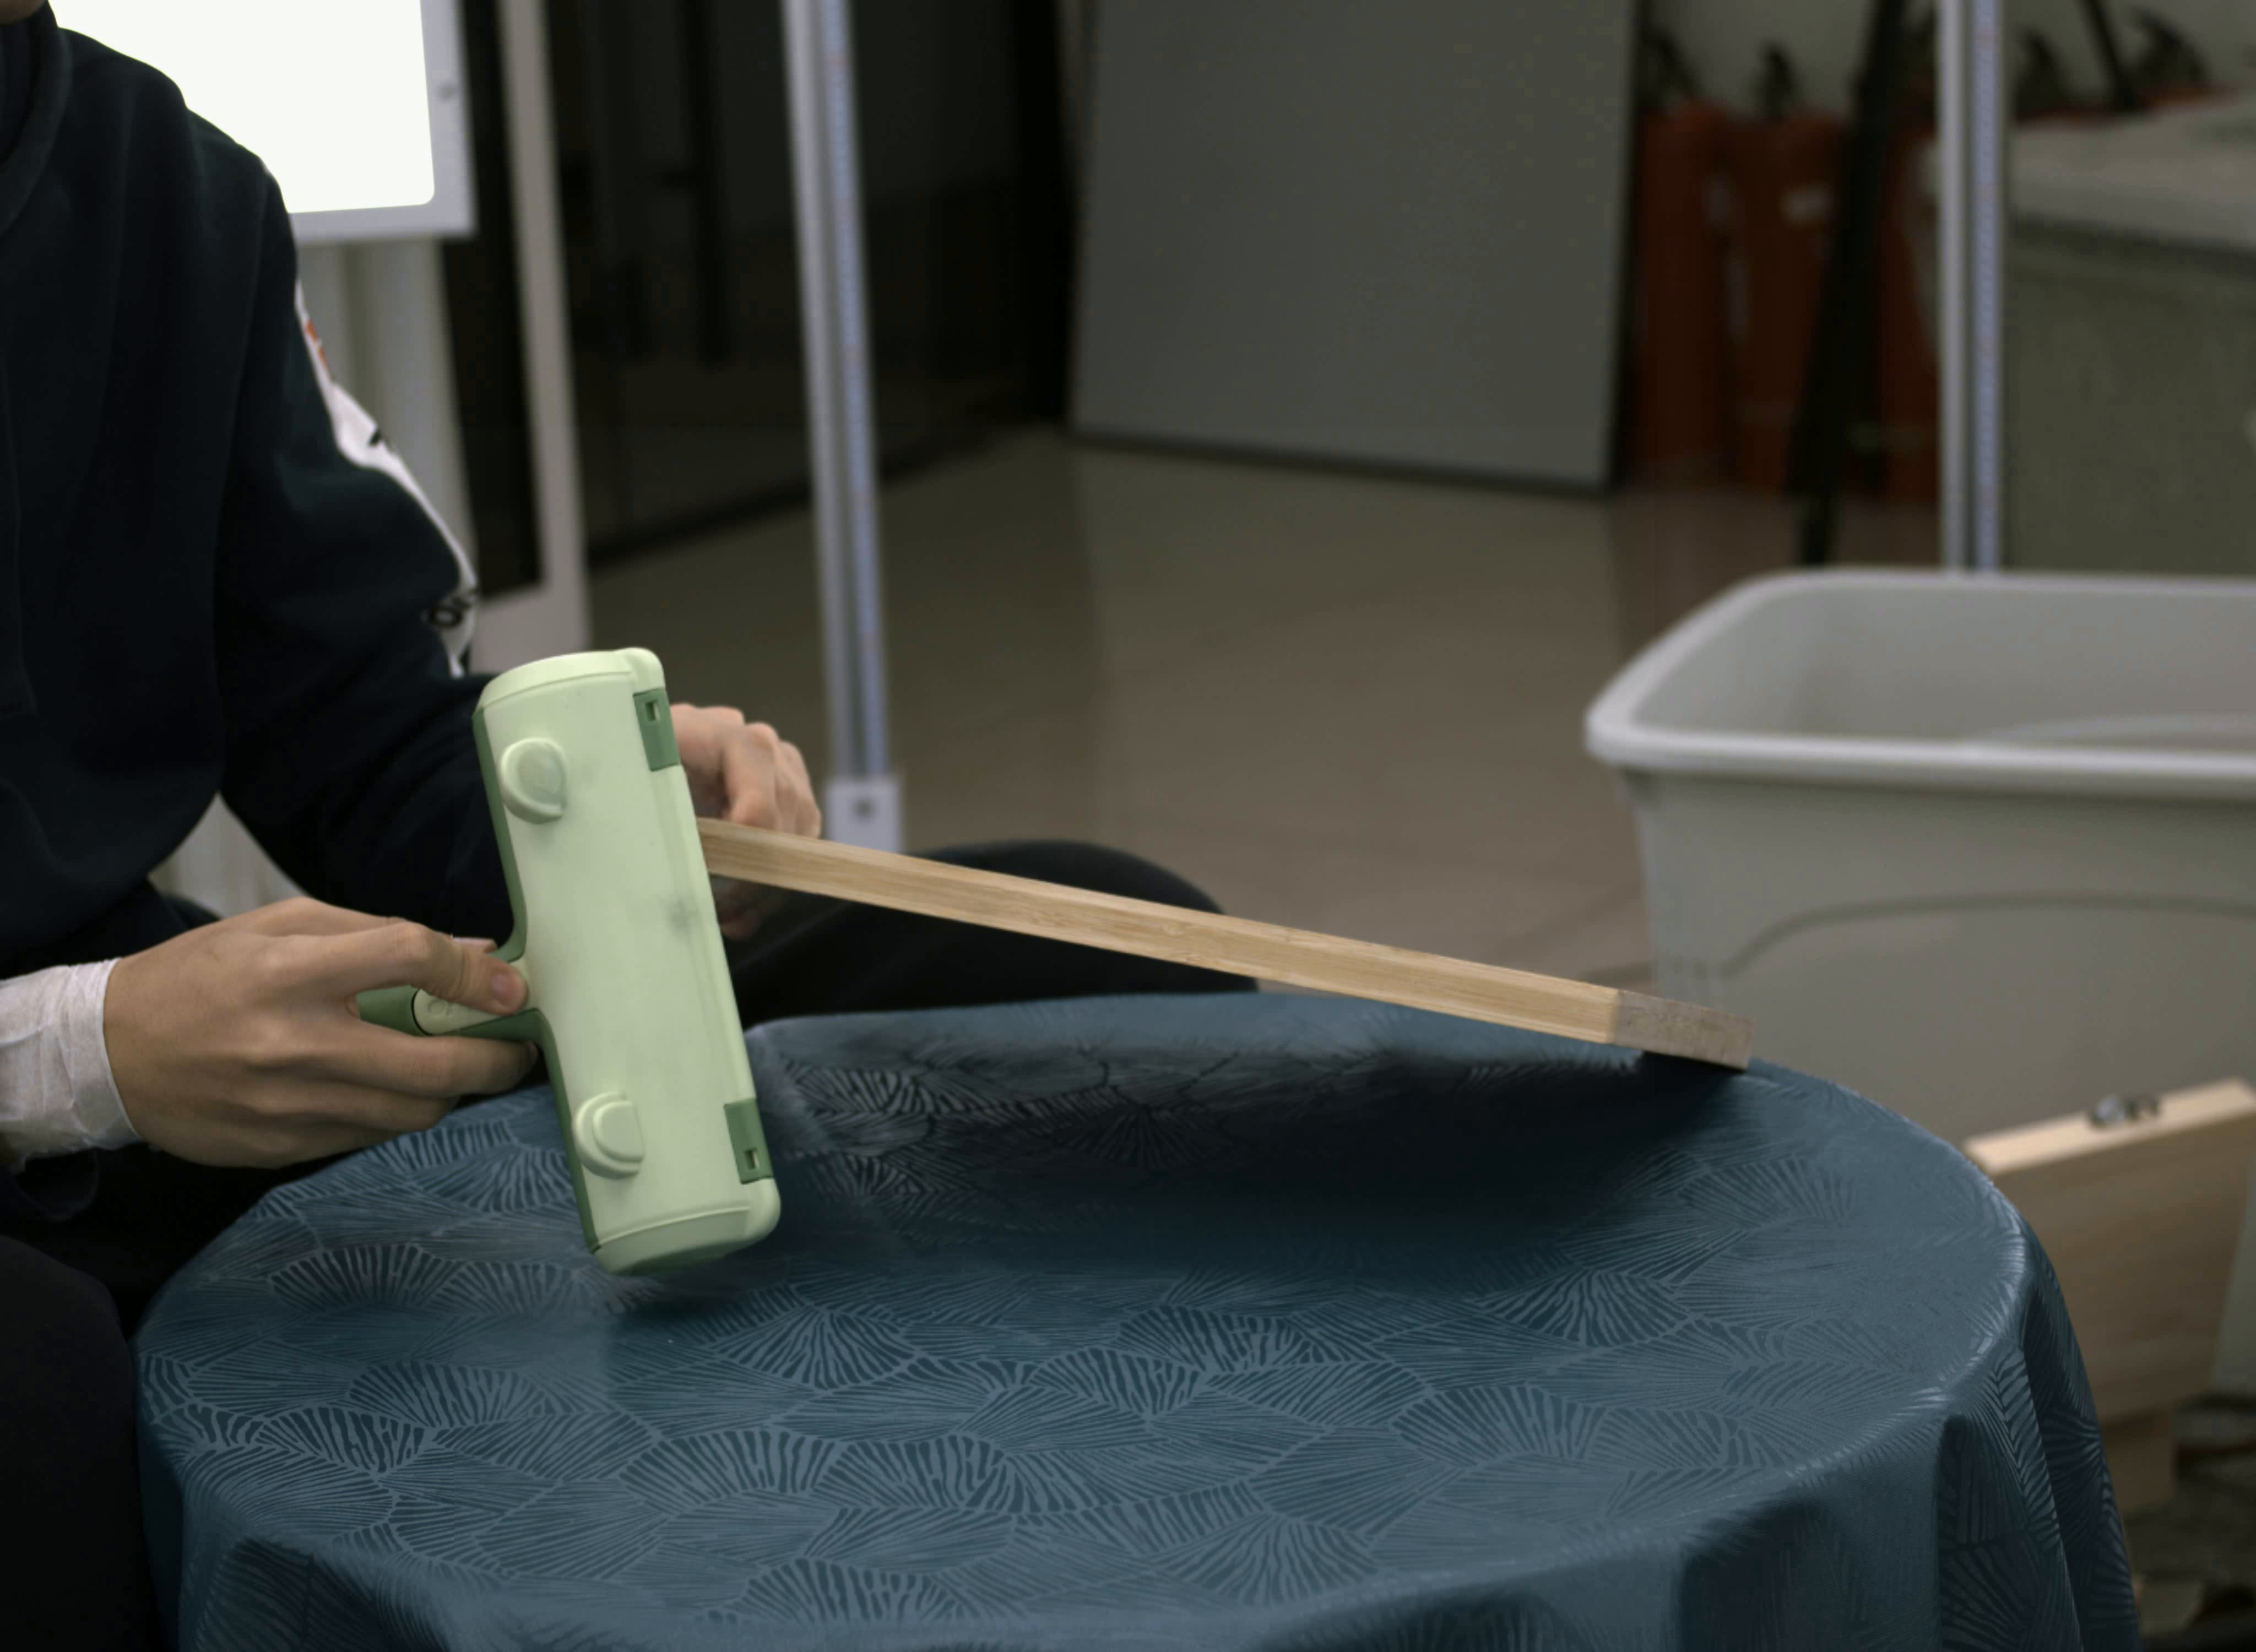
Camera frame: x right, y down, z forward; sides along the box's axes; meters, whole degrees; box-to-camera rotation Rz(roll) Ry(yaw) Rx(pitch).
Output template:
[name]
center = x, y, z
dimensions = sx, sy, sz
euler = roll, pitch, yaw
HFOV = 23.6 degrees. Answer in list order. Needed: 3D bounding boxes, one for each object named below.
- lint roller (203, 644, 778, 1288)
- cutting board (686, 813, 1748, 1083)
[lint roller]
center = -0.214, 0.057, 1.704
dimensions = 0.182, 0.201, 0.081
euler = -15, -12, 7
[cutting board]
center = 0.020, 0.039, 1.801
dimensions = 0.348, 0.024, 0.248
euler = 10, -3, 18
